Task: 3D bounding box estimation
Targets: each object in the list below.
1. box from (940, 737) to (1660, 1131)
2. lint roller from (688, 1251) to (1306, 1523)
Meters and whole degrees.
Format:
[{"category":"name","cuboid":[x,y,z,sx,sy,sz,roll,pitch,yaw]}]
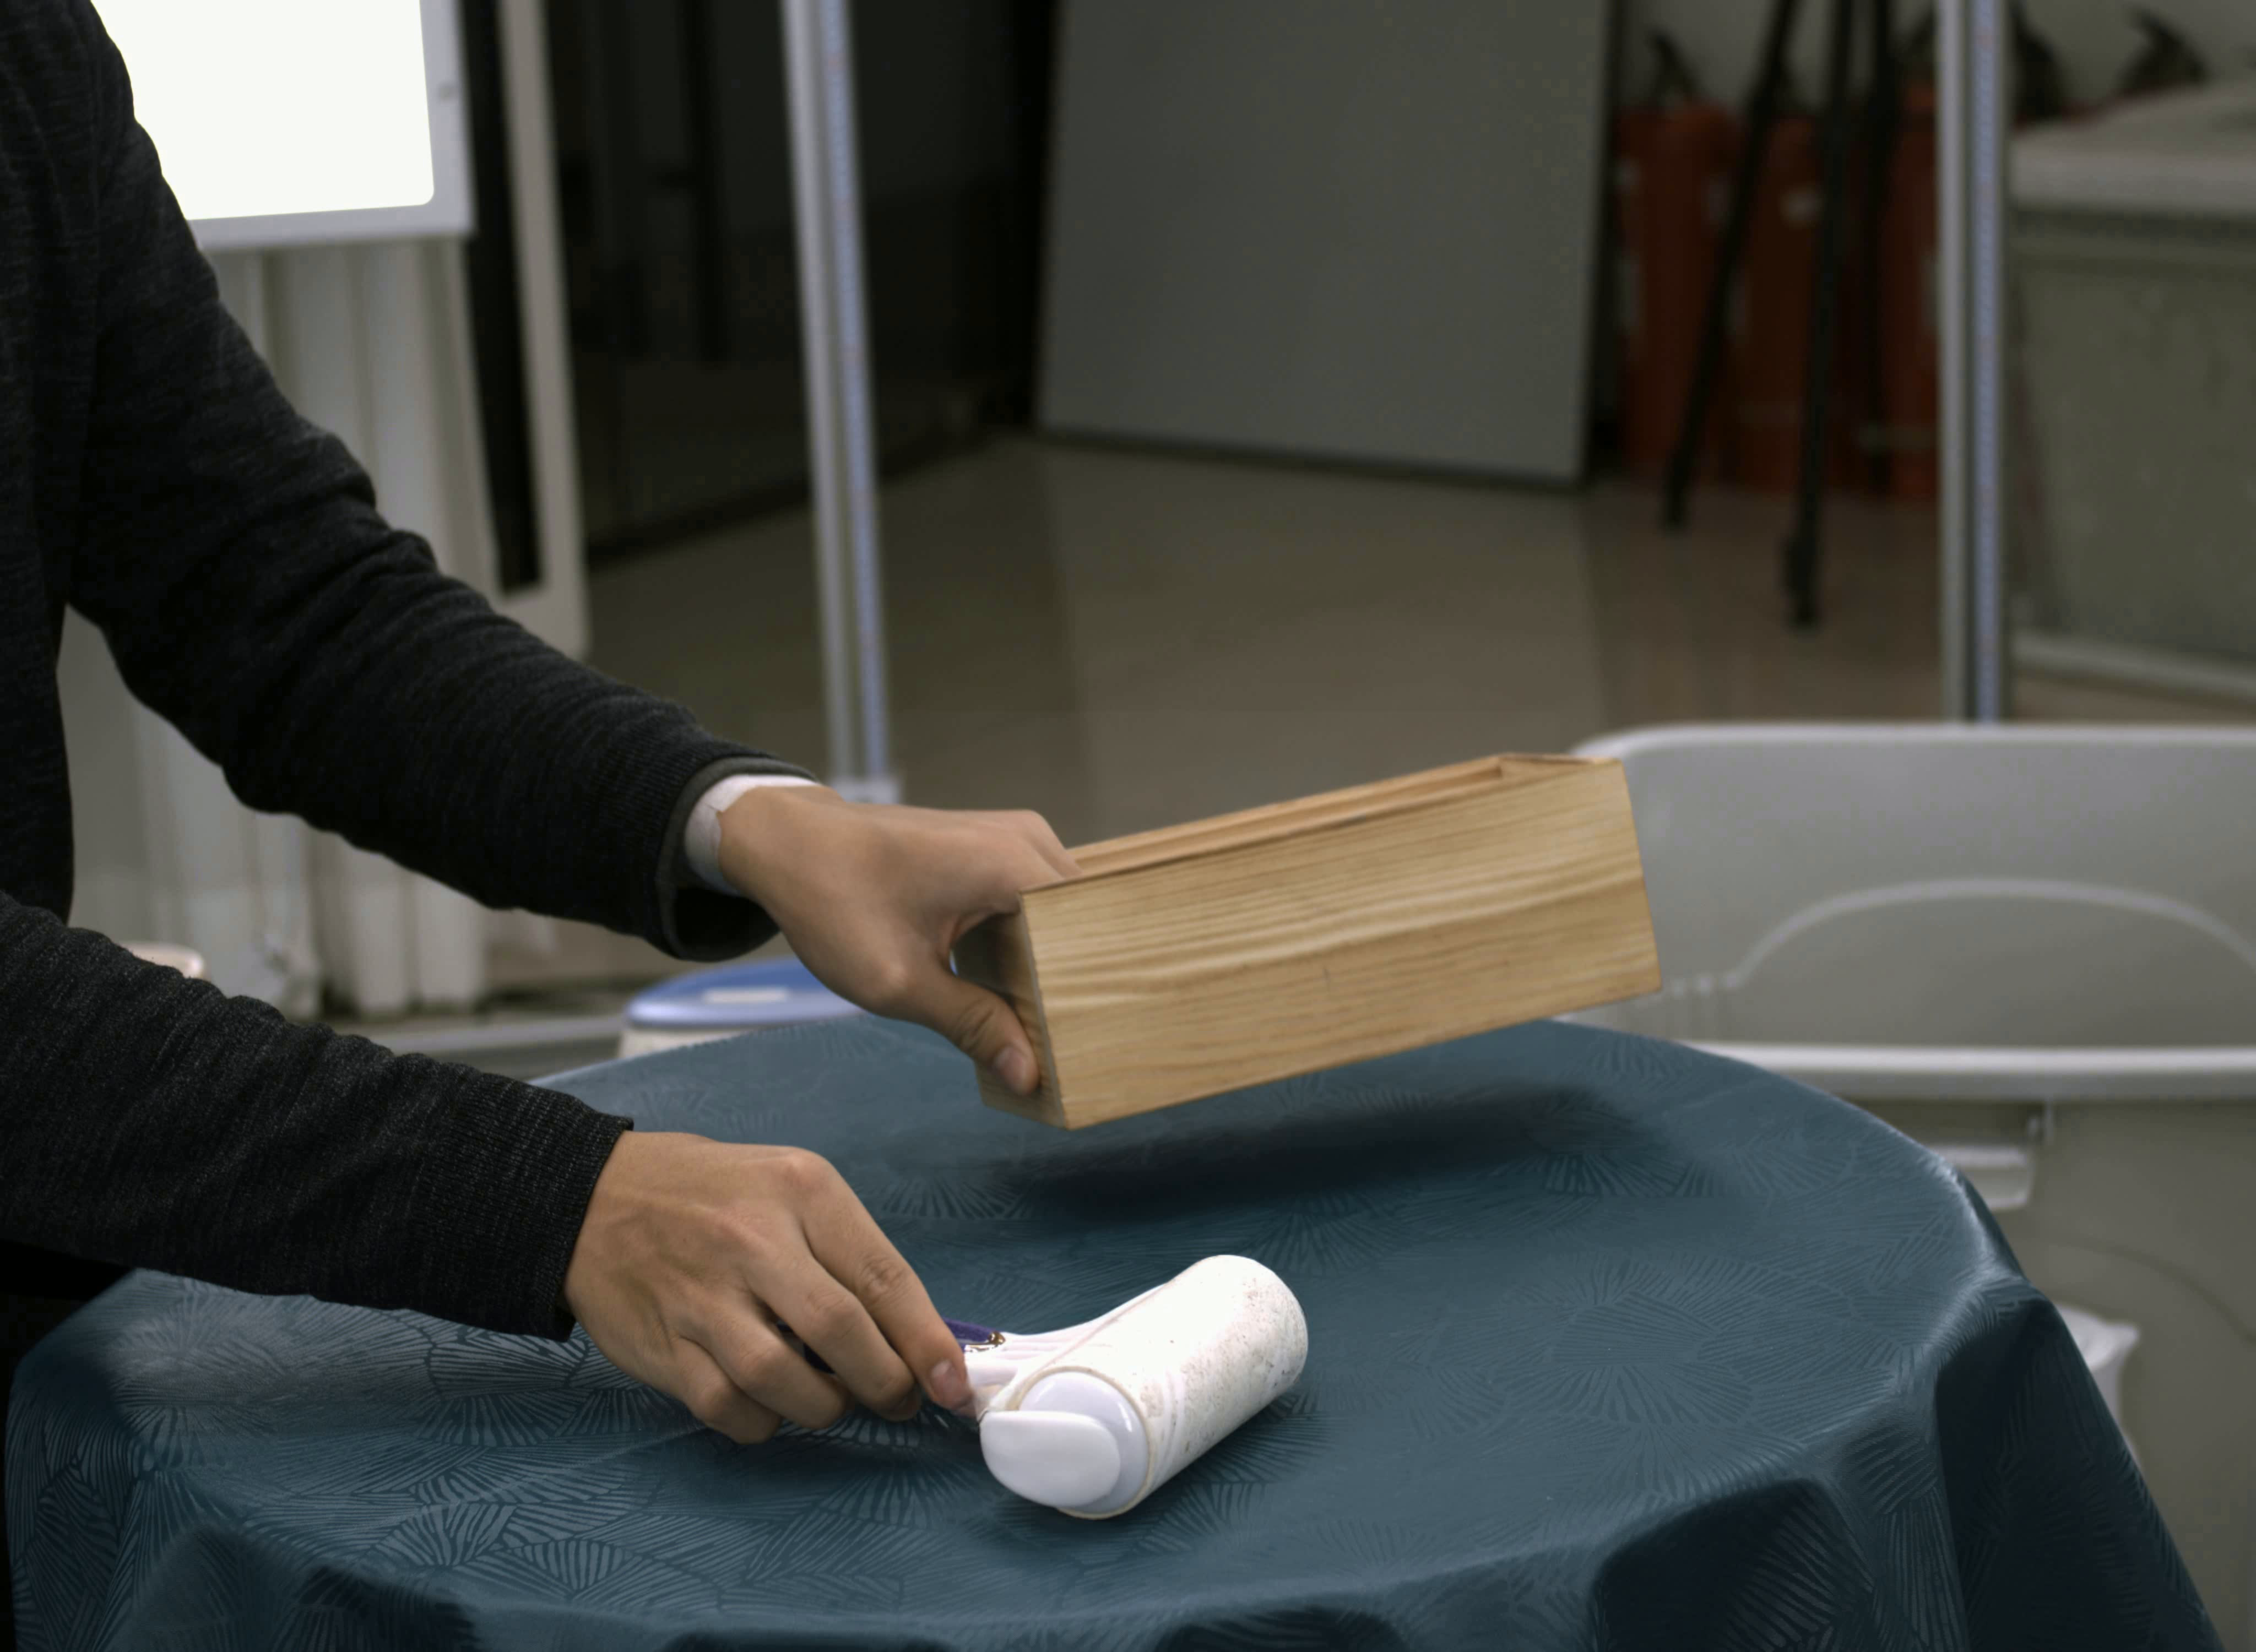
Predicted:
[{"category":"box","cuboid":[0.056,0.033,1.786,0.207,0.081,0.108,-14,4,-15]},{"category":"lint roller","cuboid":[-0.047,0.144,1.553,0.181,0.051,0.131,15,22,27]}]
